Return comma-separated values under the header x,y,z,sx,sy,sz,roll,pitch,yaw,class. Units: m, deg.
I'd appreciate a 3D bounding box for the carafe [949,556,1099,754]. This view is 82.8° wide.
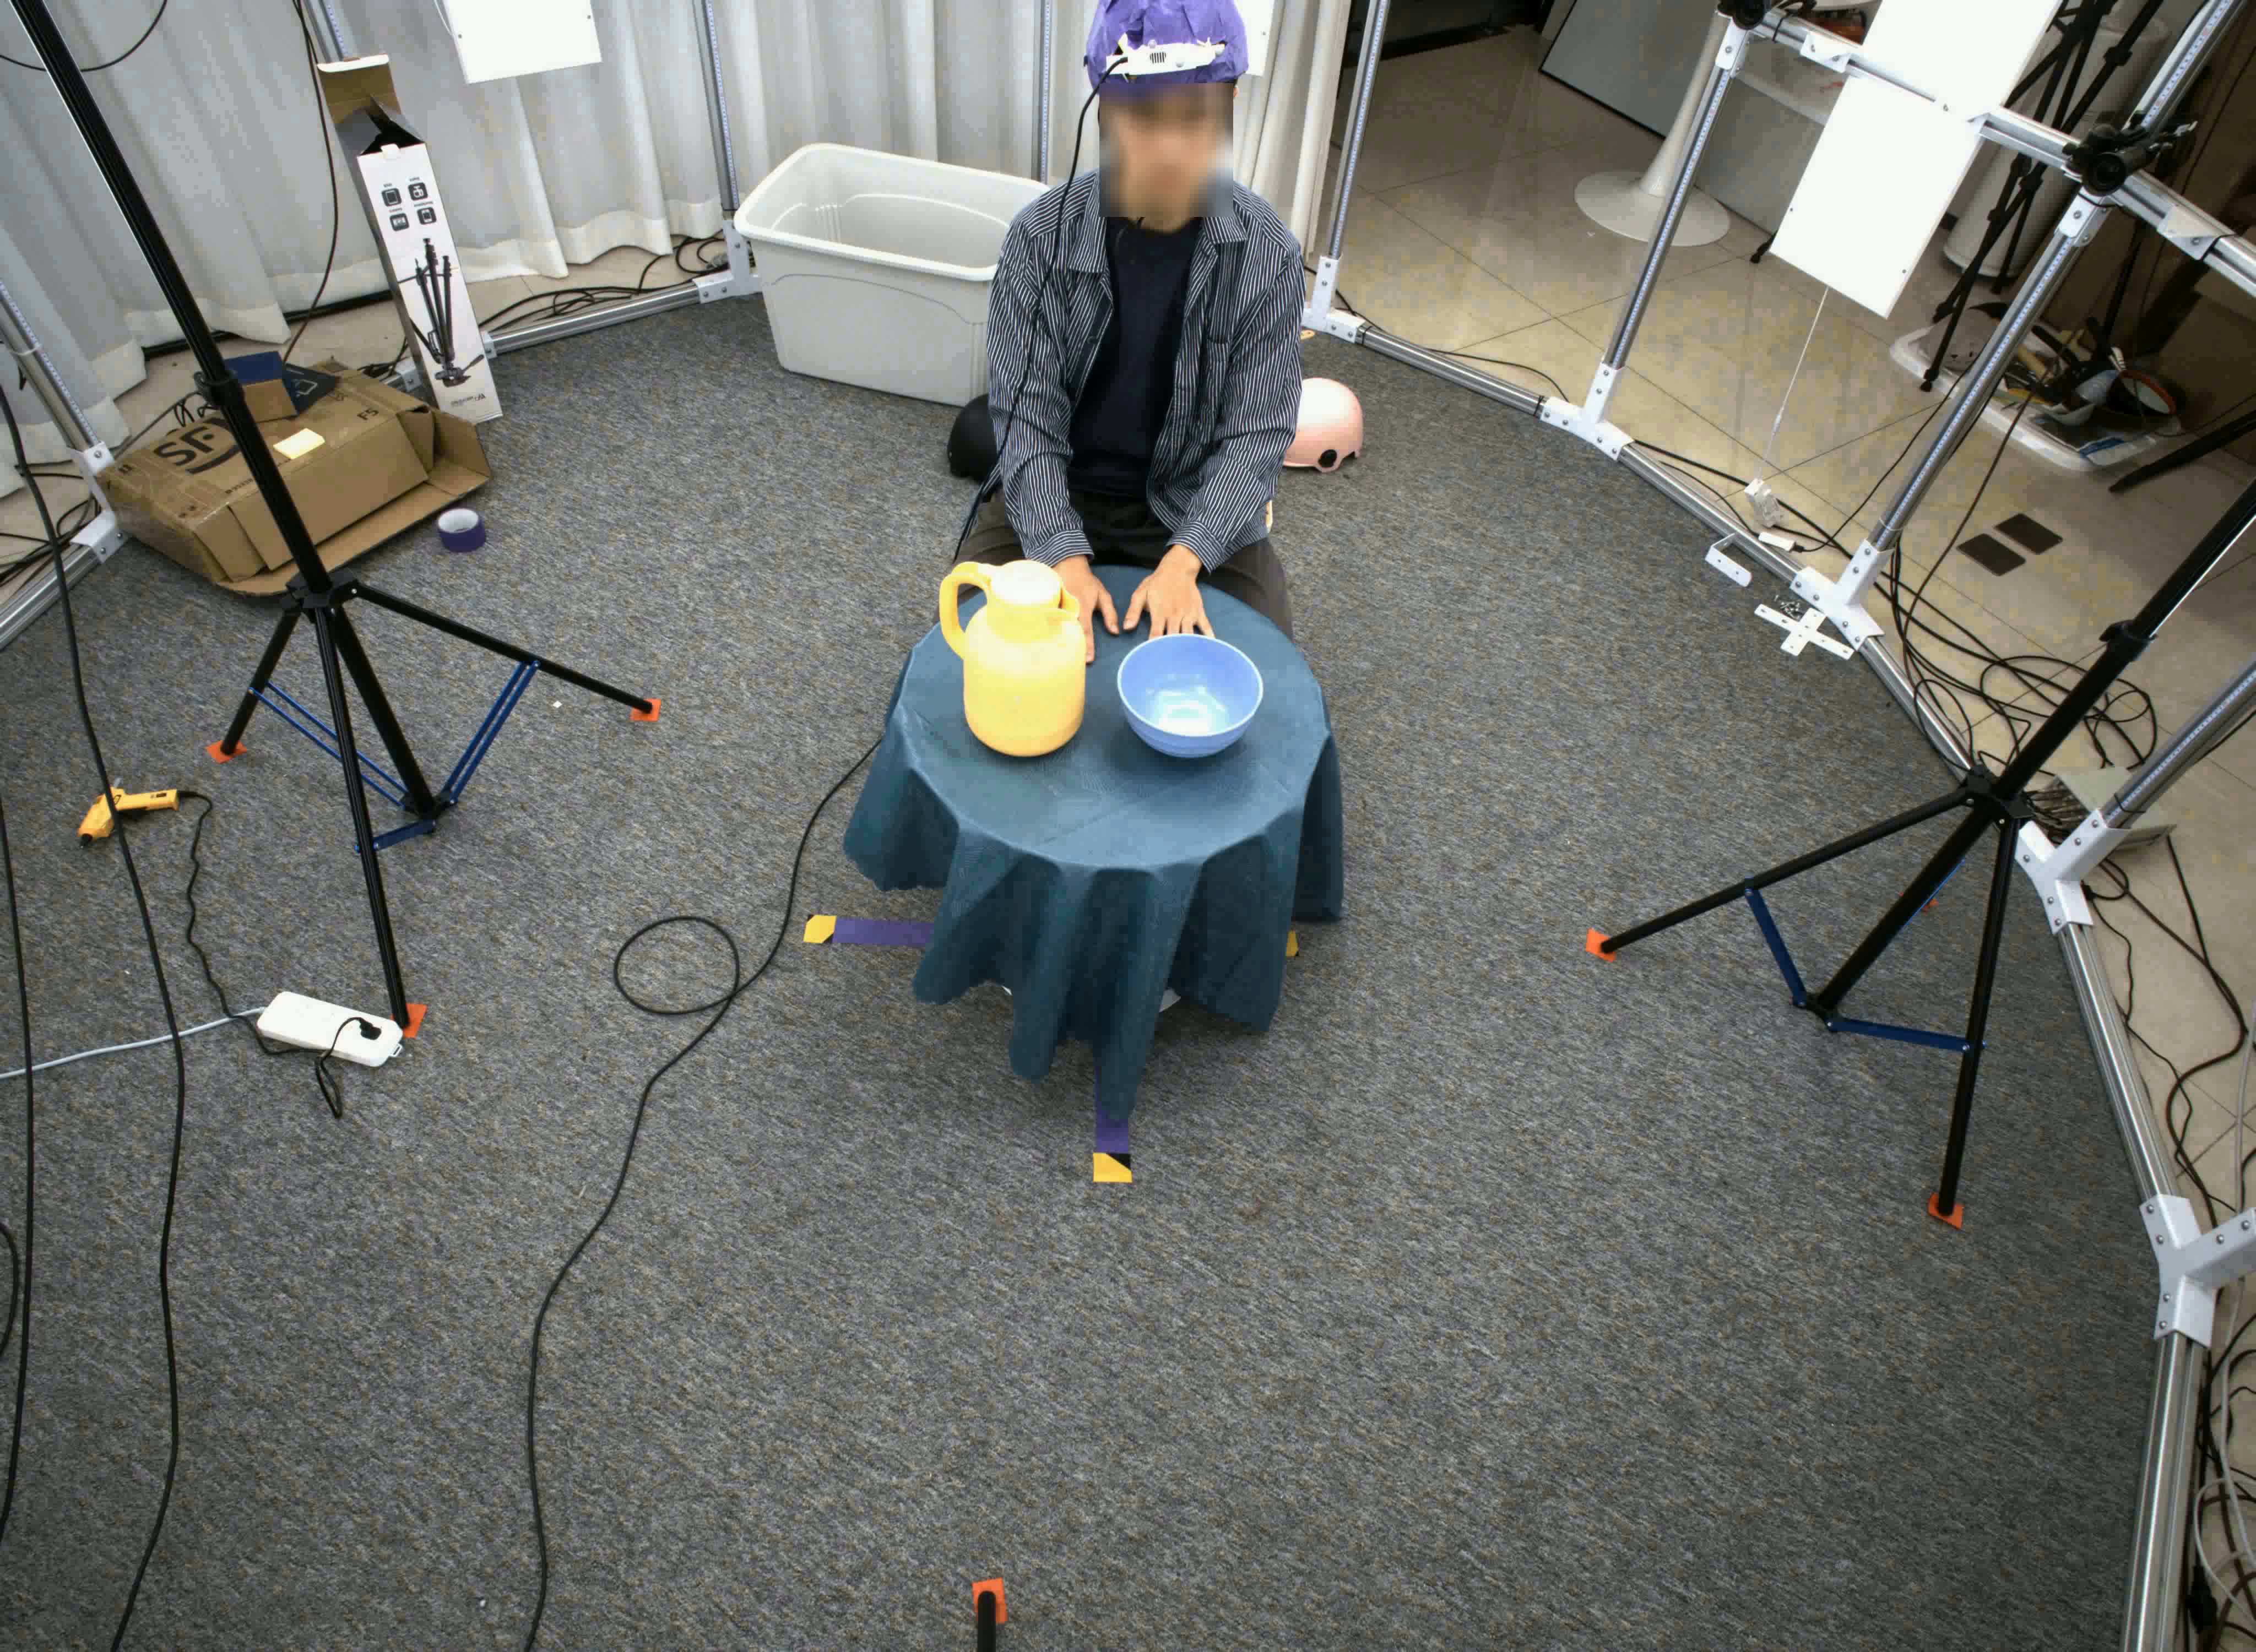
x,y,z,sx,sy,sz,roll,pitch,yaw,class
-0.136,-0.235,1.684,0.203,0.254,0.166,22,50,14,carafe

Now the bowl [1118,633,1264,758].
x,y,z,sx,sy,sz,roll,pitch,yaw,class
0.081,-0.162,1.746,0.196,0.093,0.201,2,49,-3,bowl
